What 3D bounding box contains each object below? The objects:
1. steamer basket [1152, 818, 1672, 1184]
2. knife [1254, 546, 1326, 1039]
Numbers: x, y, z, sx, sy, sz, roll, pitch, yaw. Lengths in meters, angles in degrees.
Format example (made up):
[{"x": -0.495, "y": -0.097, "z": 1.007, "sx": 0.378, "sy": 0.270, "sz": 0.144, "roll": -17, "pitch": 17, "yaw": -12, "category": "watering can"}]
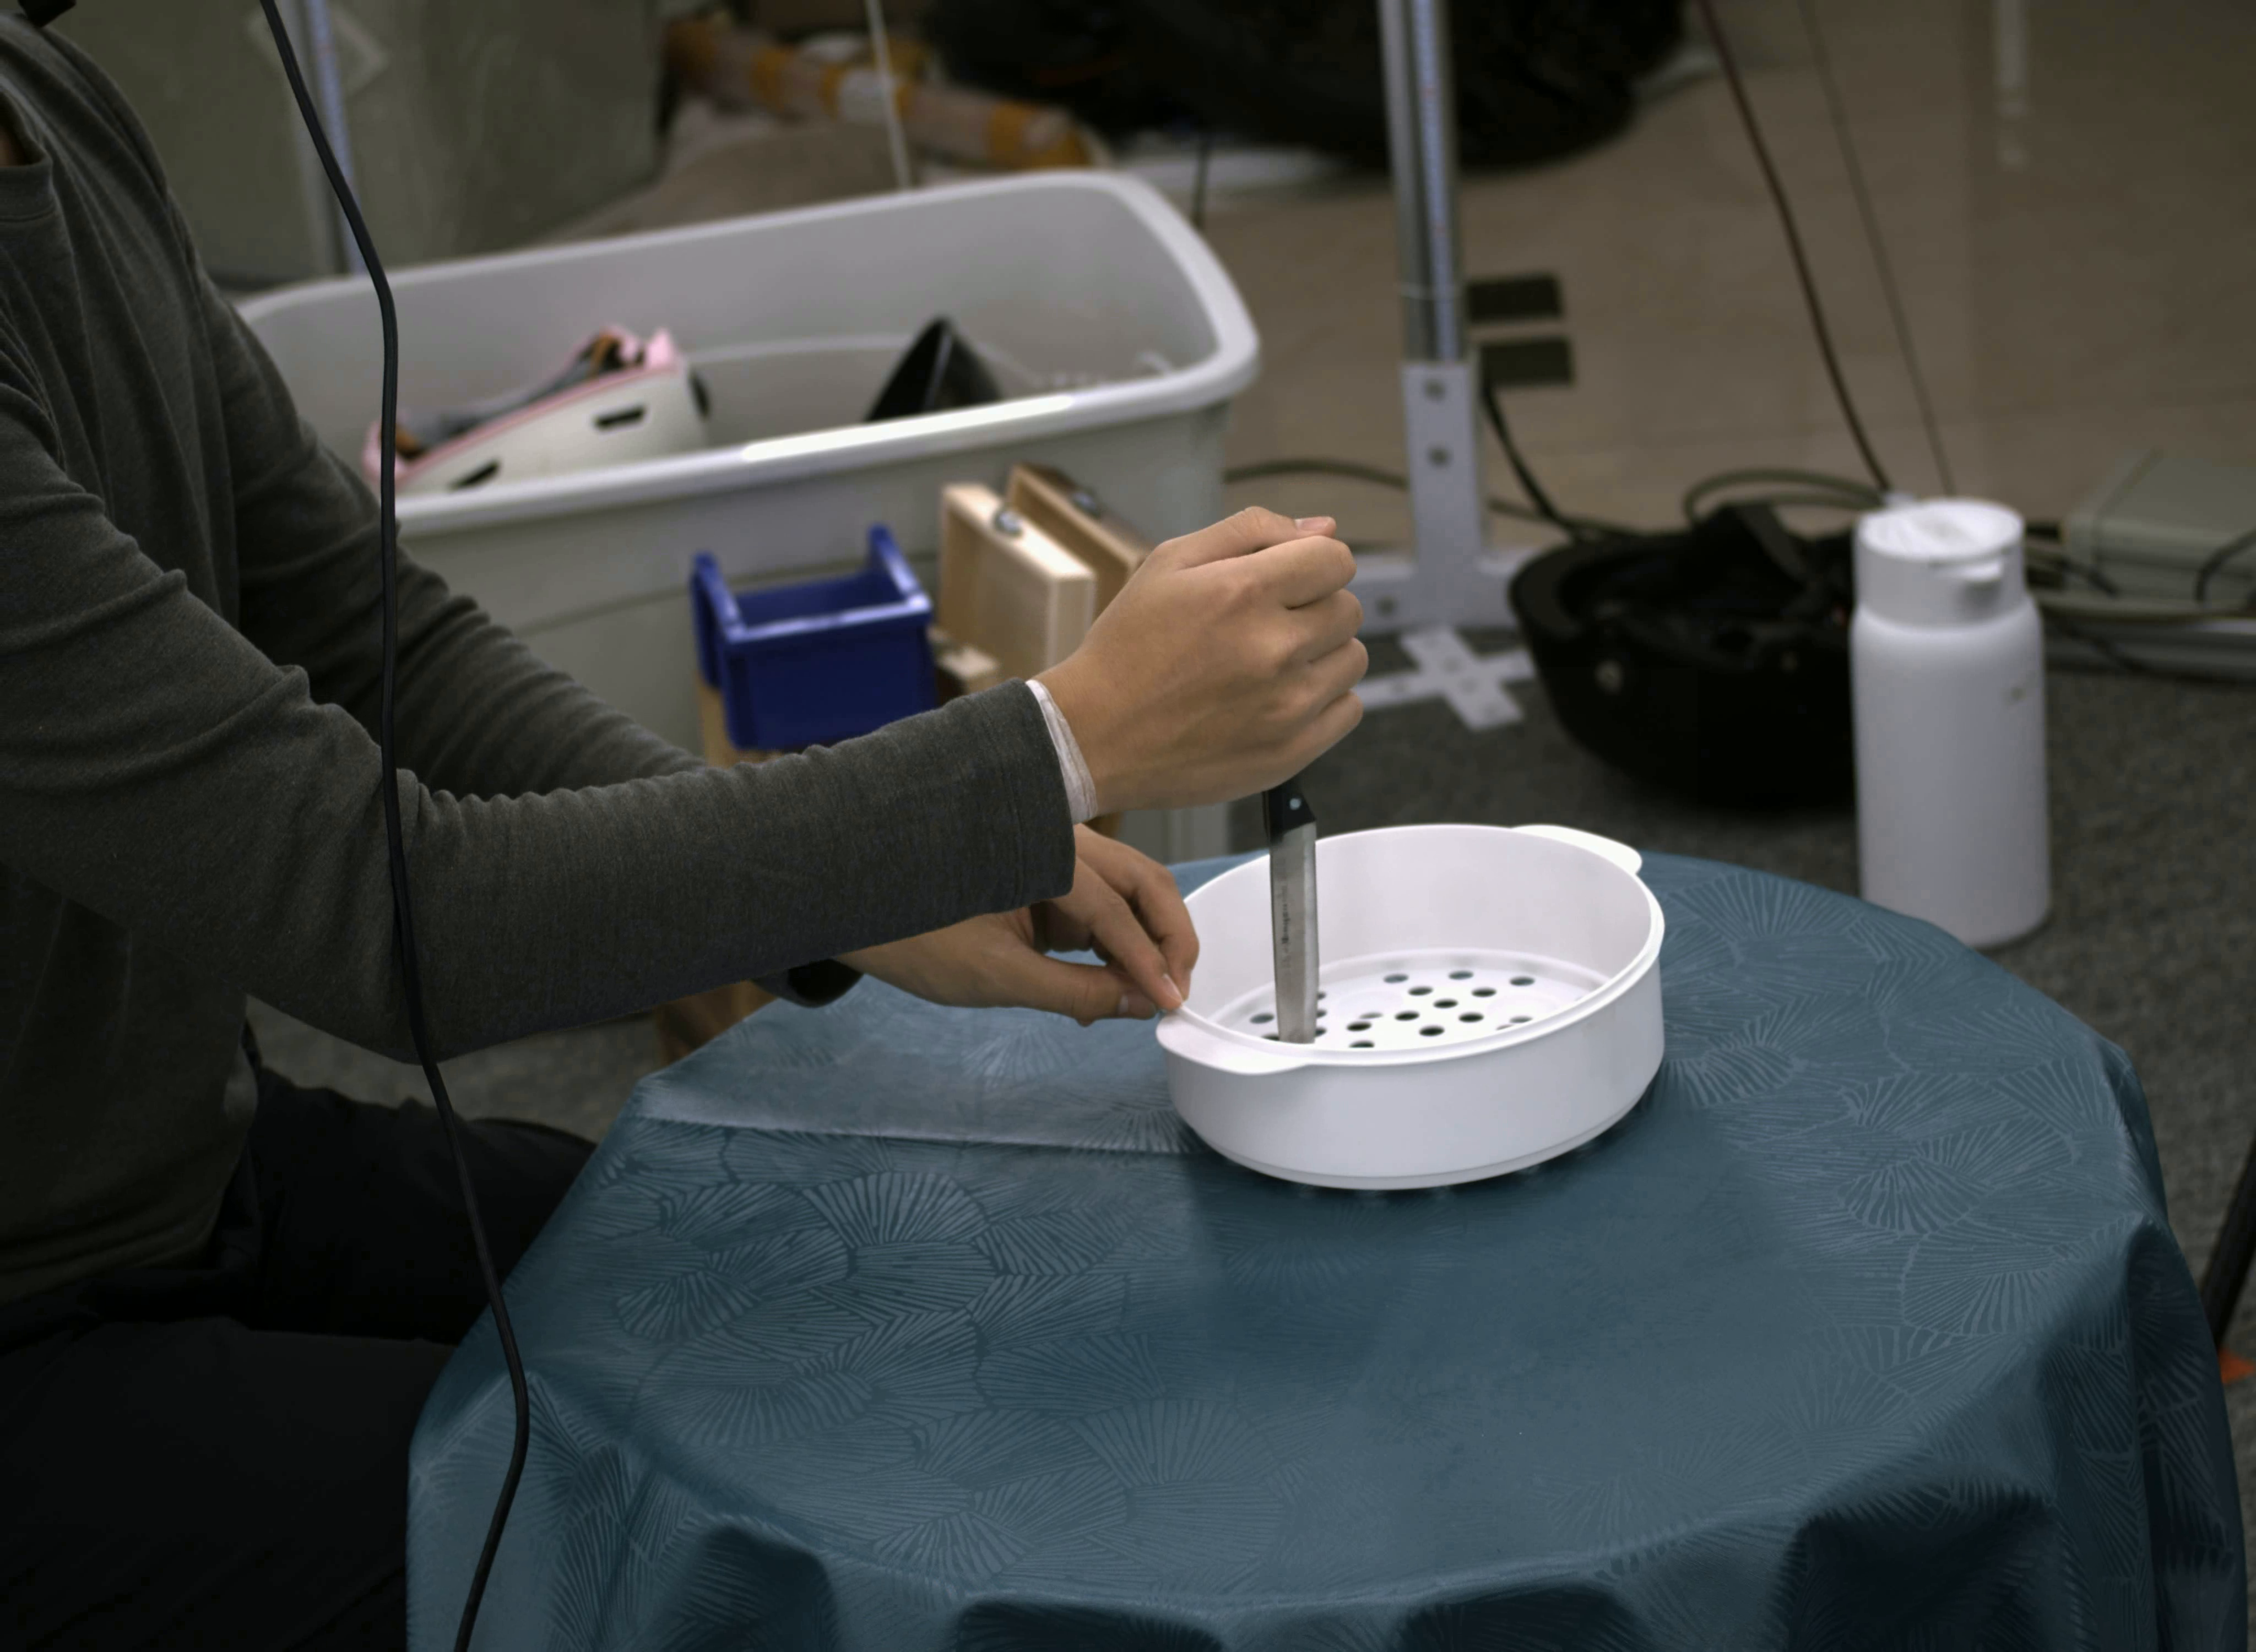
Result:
[{"x": 0.112, "y": 0.069, "z": 2.194, "sx": 0.228, "sy": 0.070, "sz": 0.200, "roll": -28, "pitch": 31, "yaw": -36, "category": "steamer basket"}, {"x": 0.060, "y": 0.006, "z": 2.116, "sx": 0.024, "sy": 0.242, "sz": 0.016, "roll": -19, "pitch": 32, "yaw": -26, "category": "knife"}]
